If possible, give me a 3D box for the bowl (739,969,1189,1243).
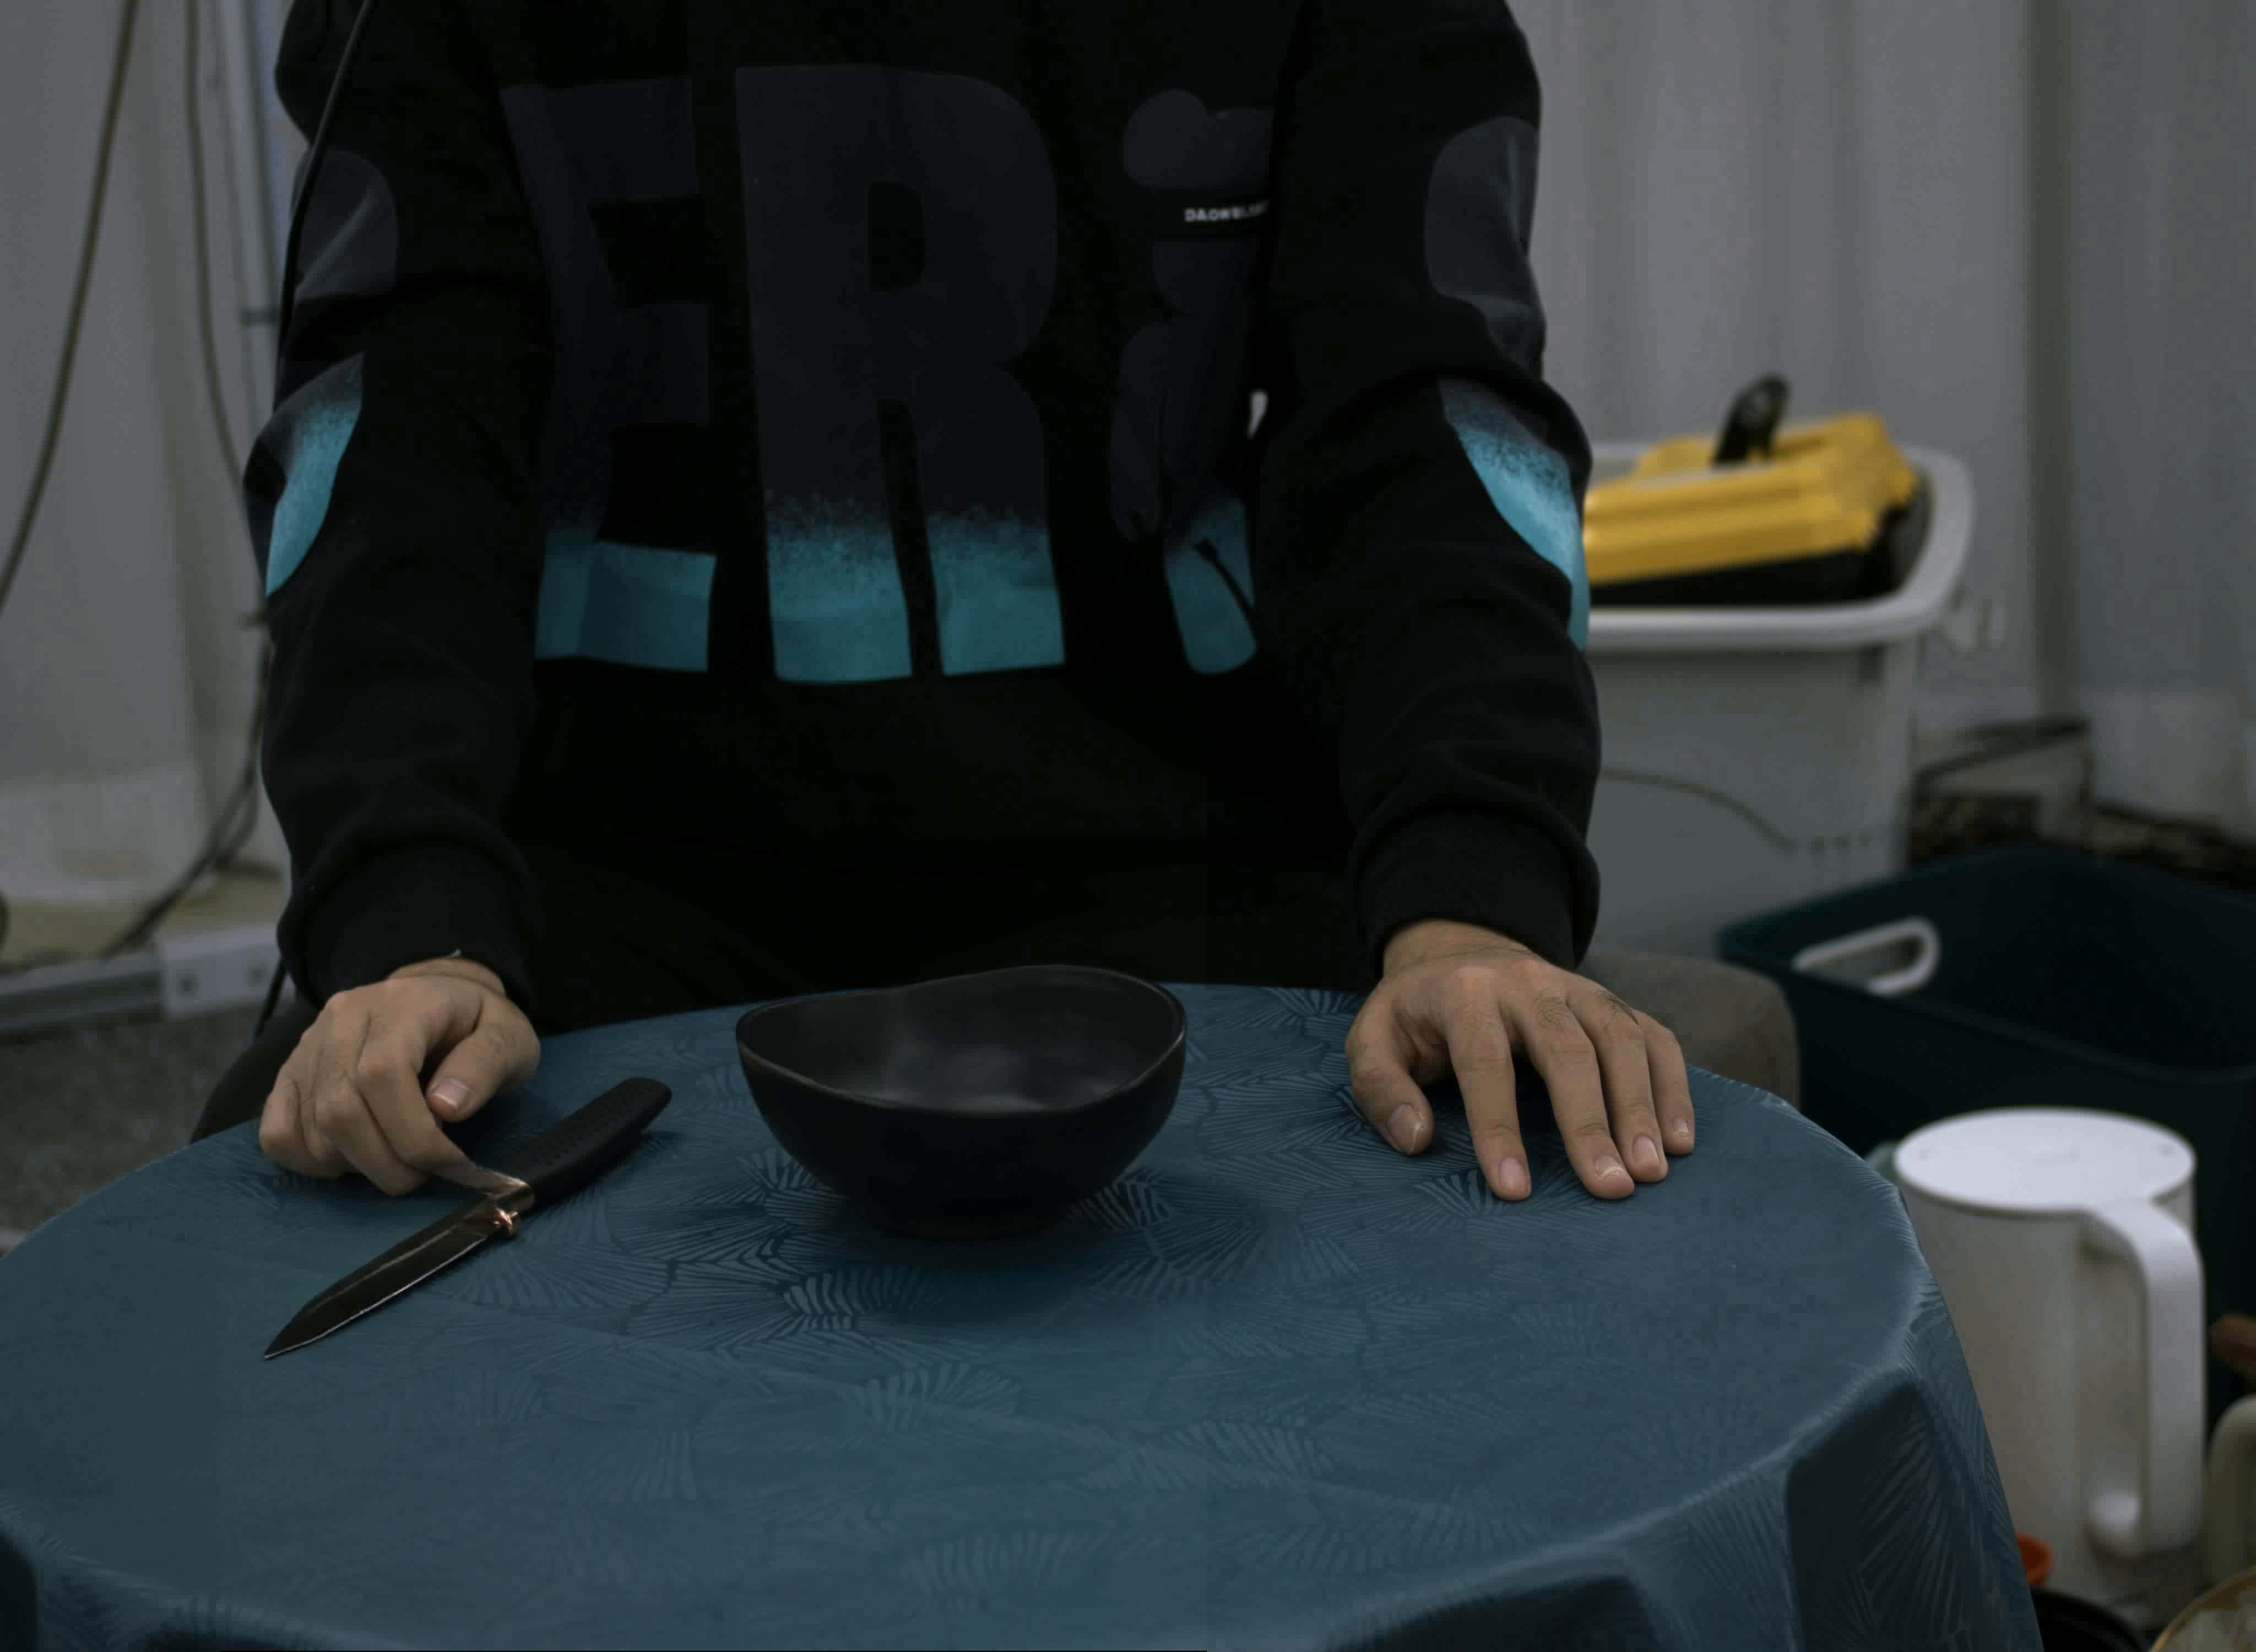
[{"bbox_3d":[-0.051,0.090,1.696,0.137,0.066,0.171,-8,13,-19],"label":"bowl"}]

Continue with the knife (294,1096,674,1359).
[{"bbox_3d":[-0.201,0.124,1.697,0.026,0.017,0.226,0,16,26],"label":"knife"}]
